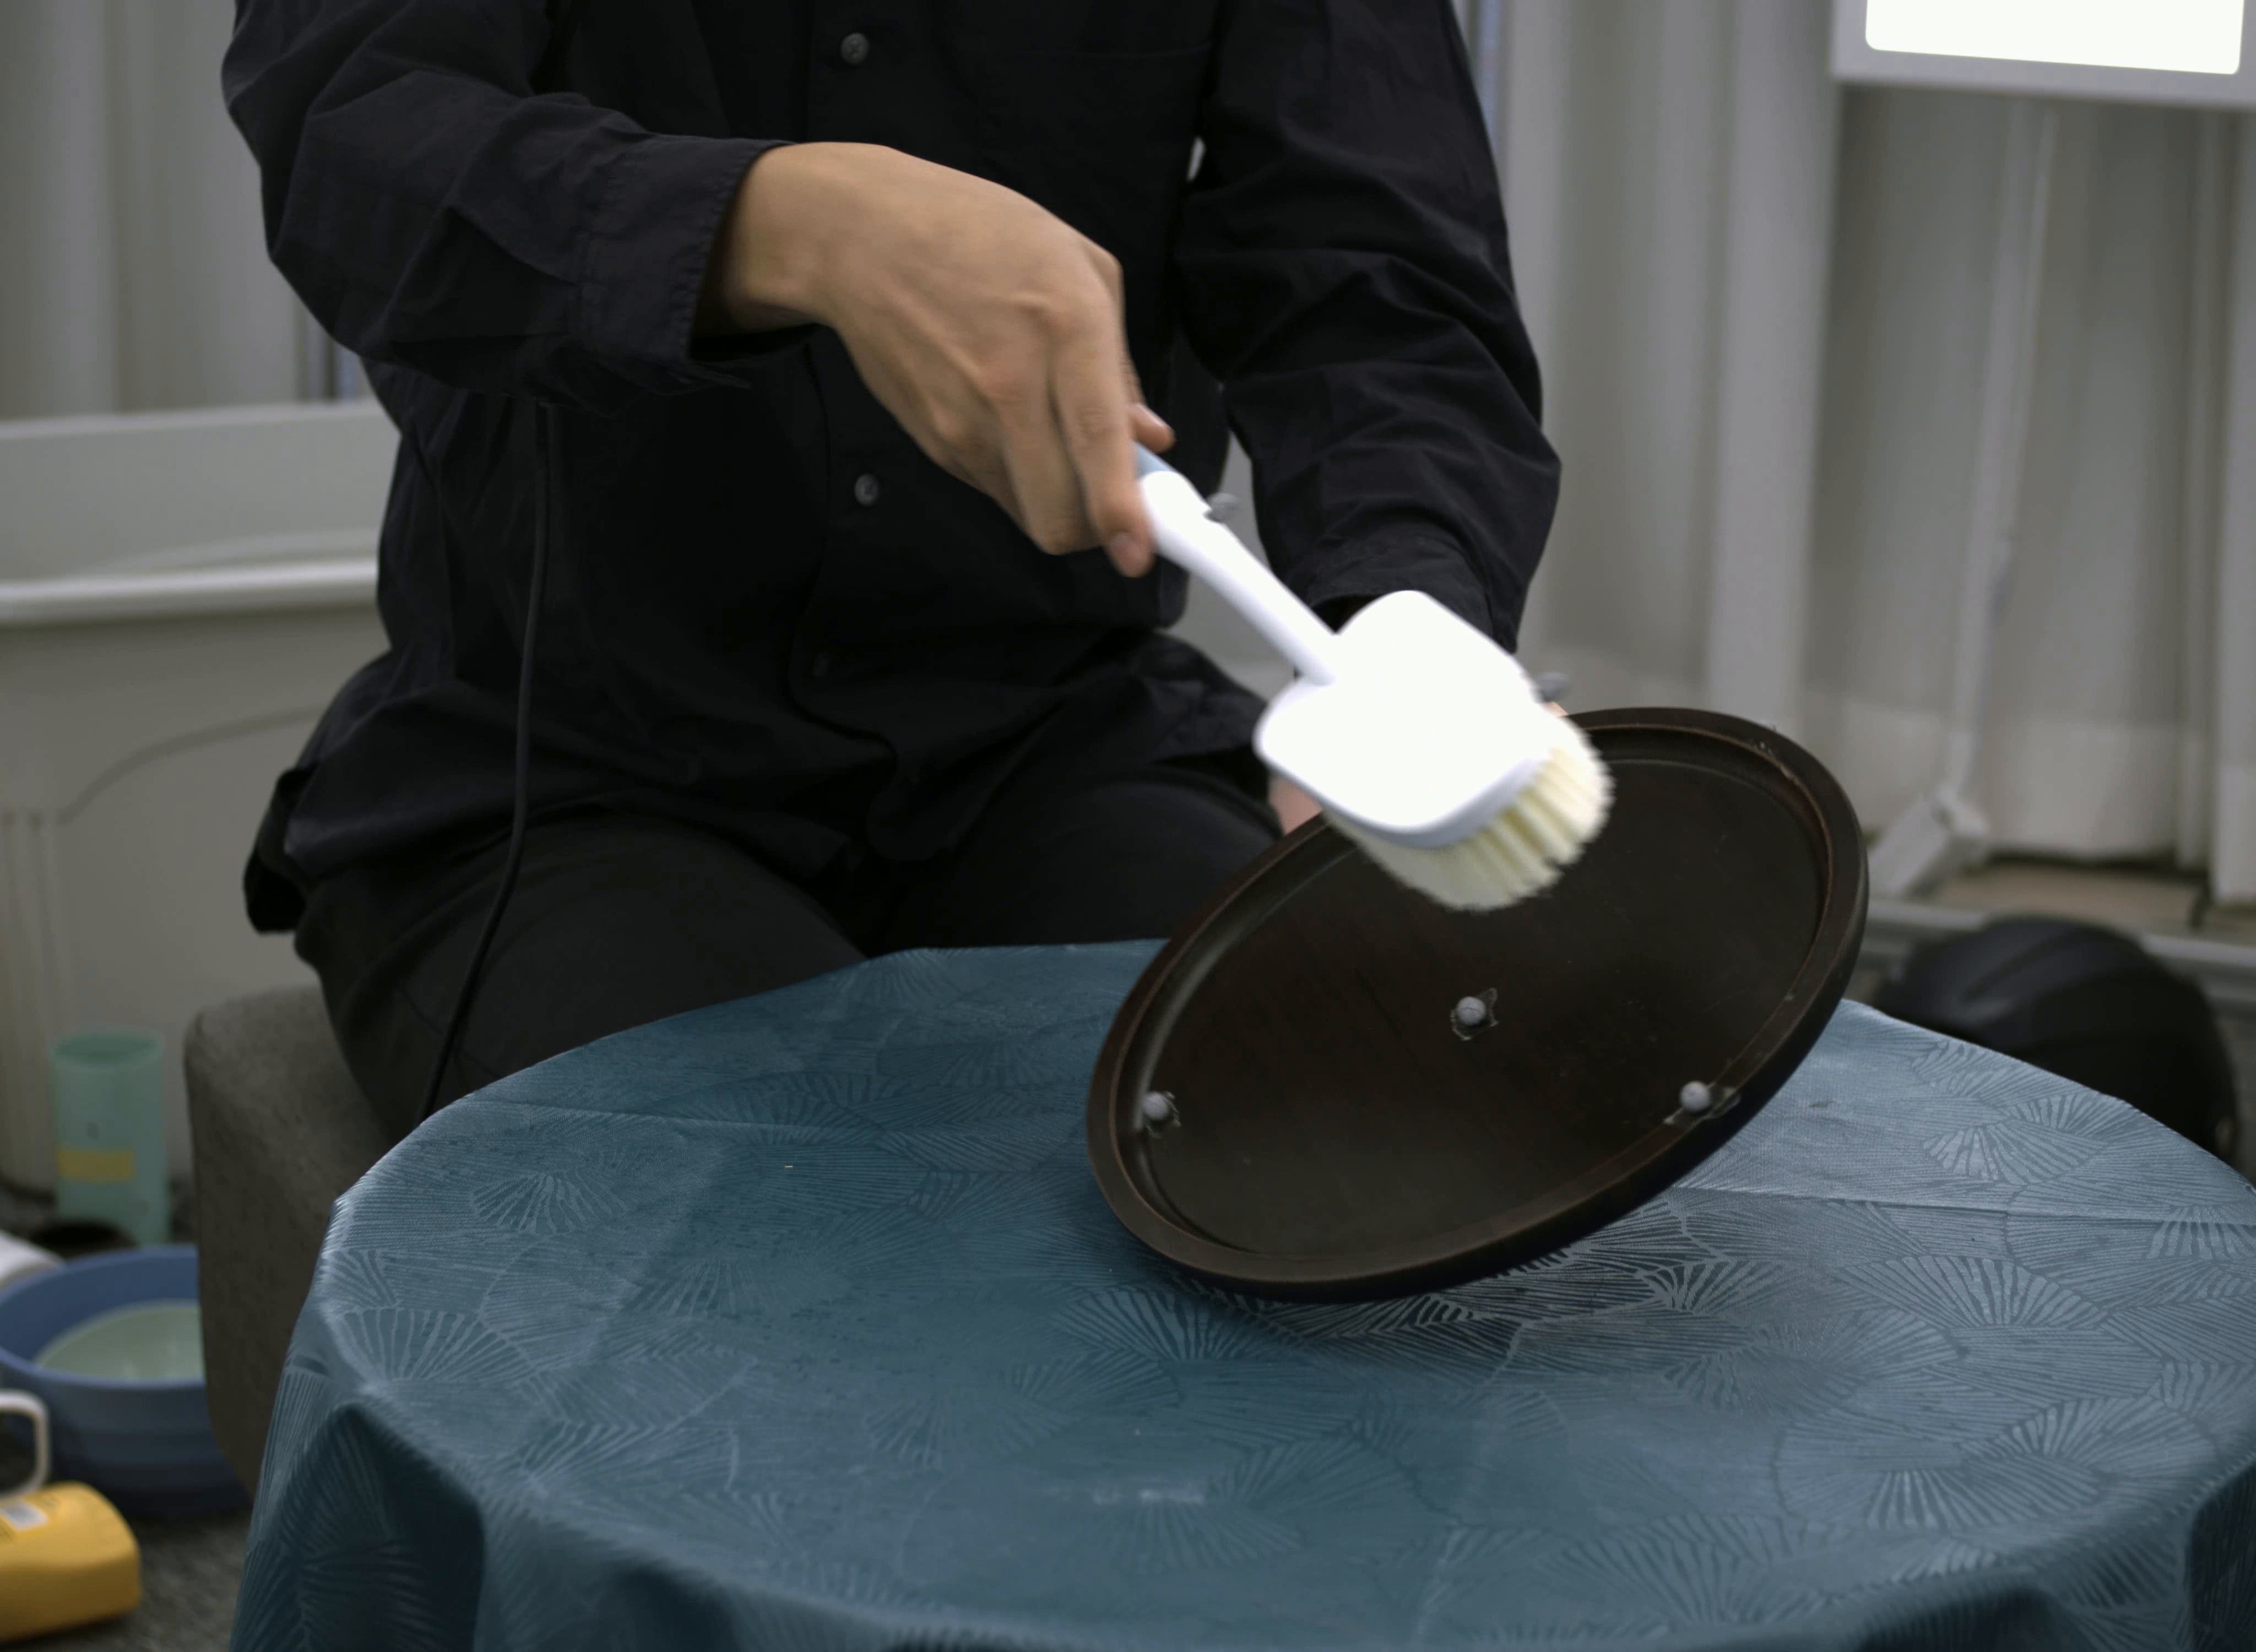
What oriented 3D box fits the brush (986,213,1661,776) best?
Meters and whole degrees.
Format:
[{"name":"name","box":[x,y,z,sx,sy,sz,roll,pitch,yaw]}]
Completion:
[{"name":"brush","box":[0.063,-0.103,1.617,0.083,0.085,0.321,-19,37,-26]}]

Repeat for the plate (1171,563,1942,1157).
[{"name":"plate","box":[0.131,0.011,1.613,0.253,0.029,0.252,-22,32,15]}]
